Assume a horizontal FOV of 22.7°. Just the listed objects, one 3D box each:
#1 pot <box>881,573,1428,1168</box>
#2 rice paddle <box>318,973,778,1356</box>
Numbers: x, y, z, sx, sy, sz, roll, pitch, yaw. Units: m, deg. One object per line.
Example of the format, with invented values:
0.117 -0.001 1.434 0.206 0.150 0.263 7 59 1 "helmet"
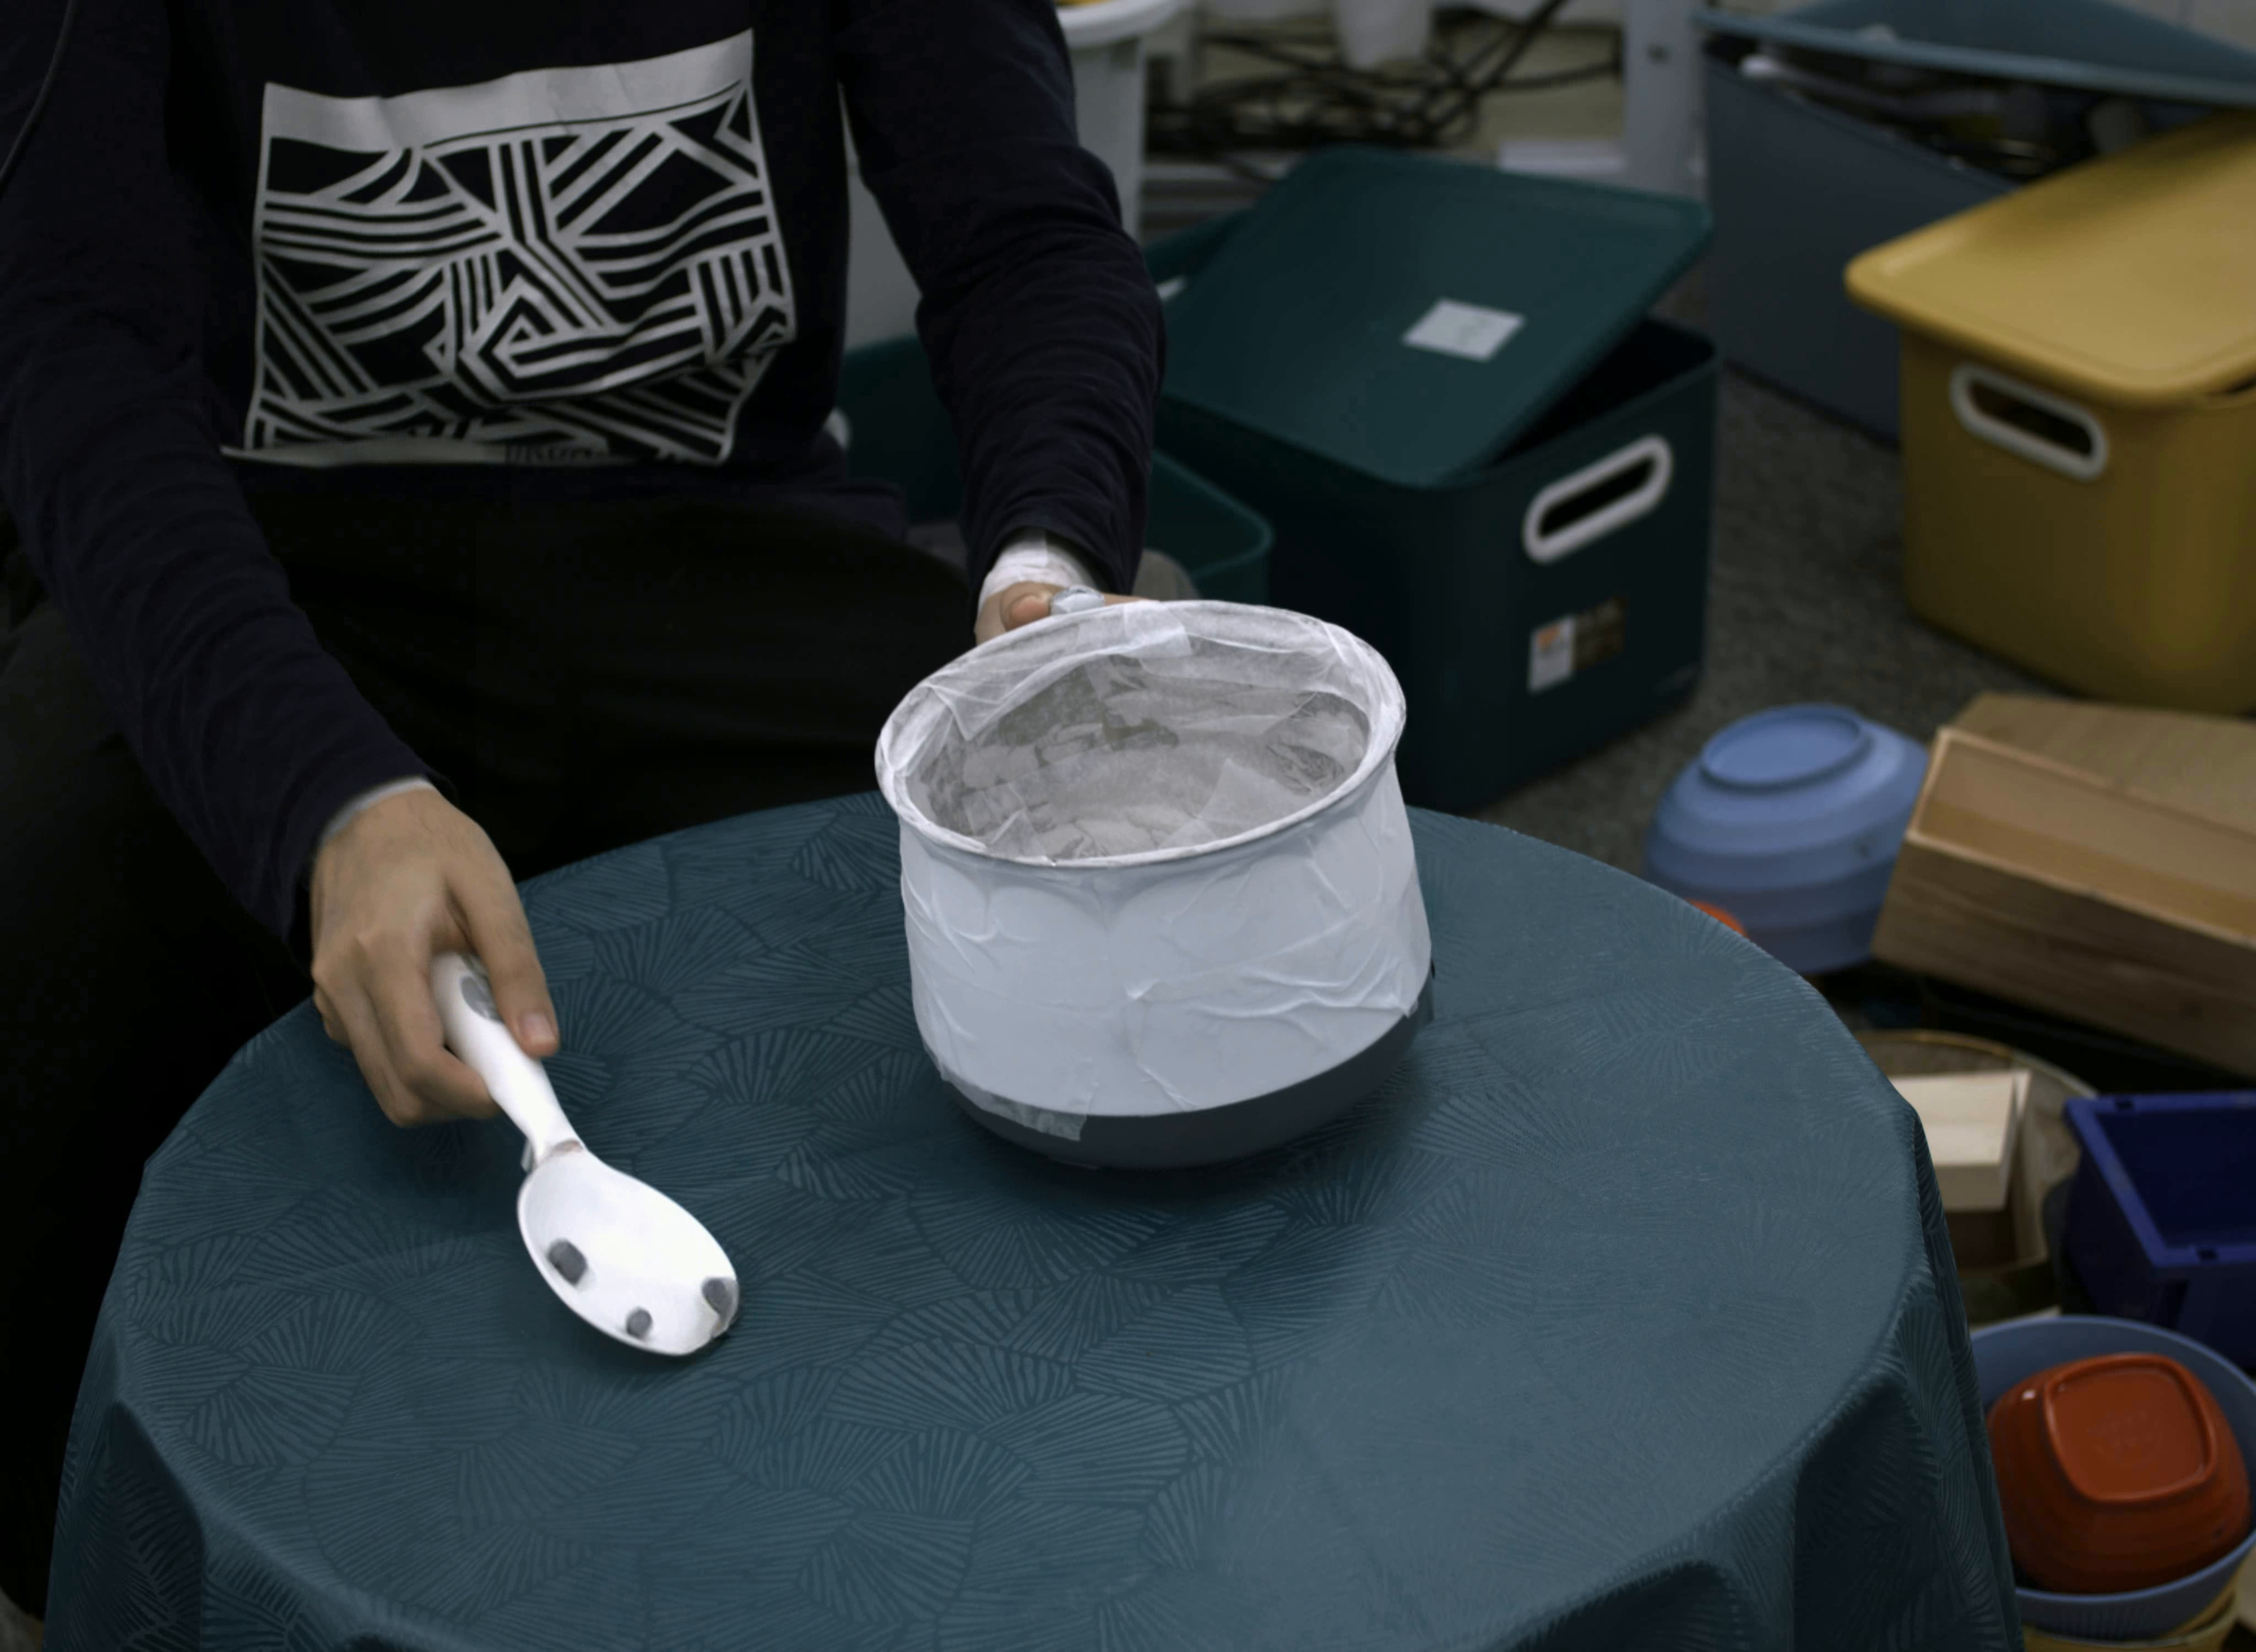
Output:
0.004 0.007 1.909 0.178 0.135 0.236 -10 30 -11 "pot"
-0.189 0.113 1.828 0.206 0.029 0.069 36 29 32 "rice paddle"
